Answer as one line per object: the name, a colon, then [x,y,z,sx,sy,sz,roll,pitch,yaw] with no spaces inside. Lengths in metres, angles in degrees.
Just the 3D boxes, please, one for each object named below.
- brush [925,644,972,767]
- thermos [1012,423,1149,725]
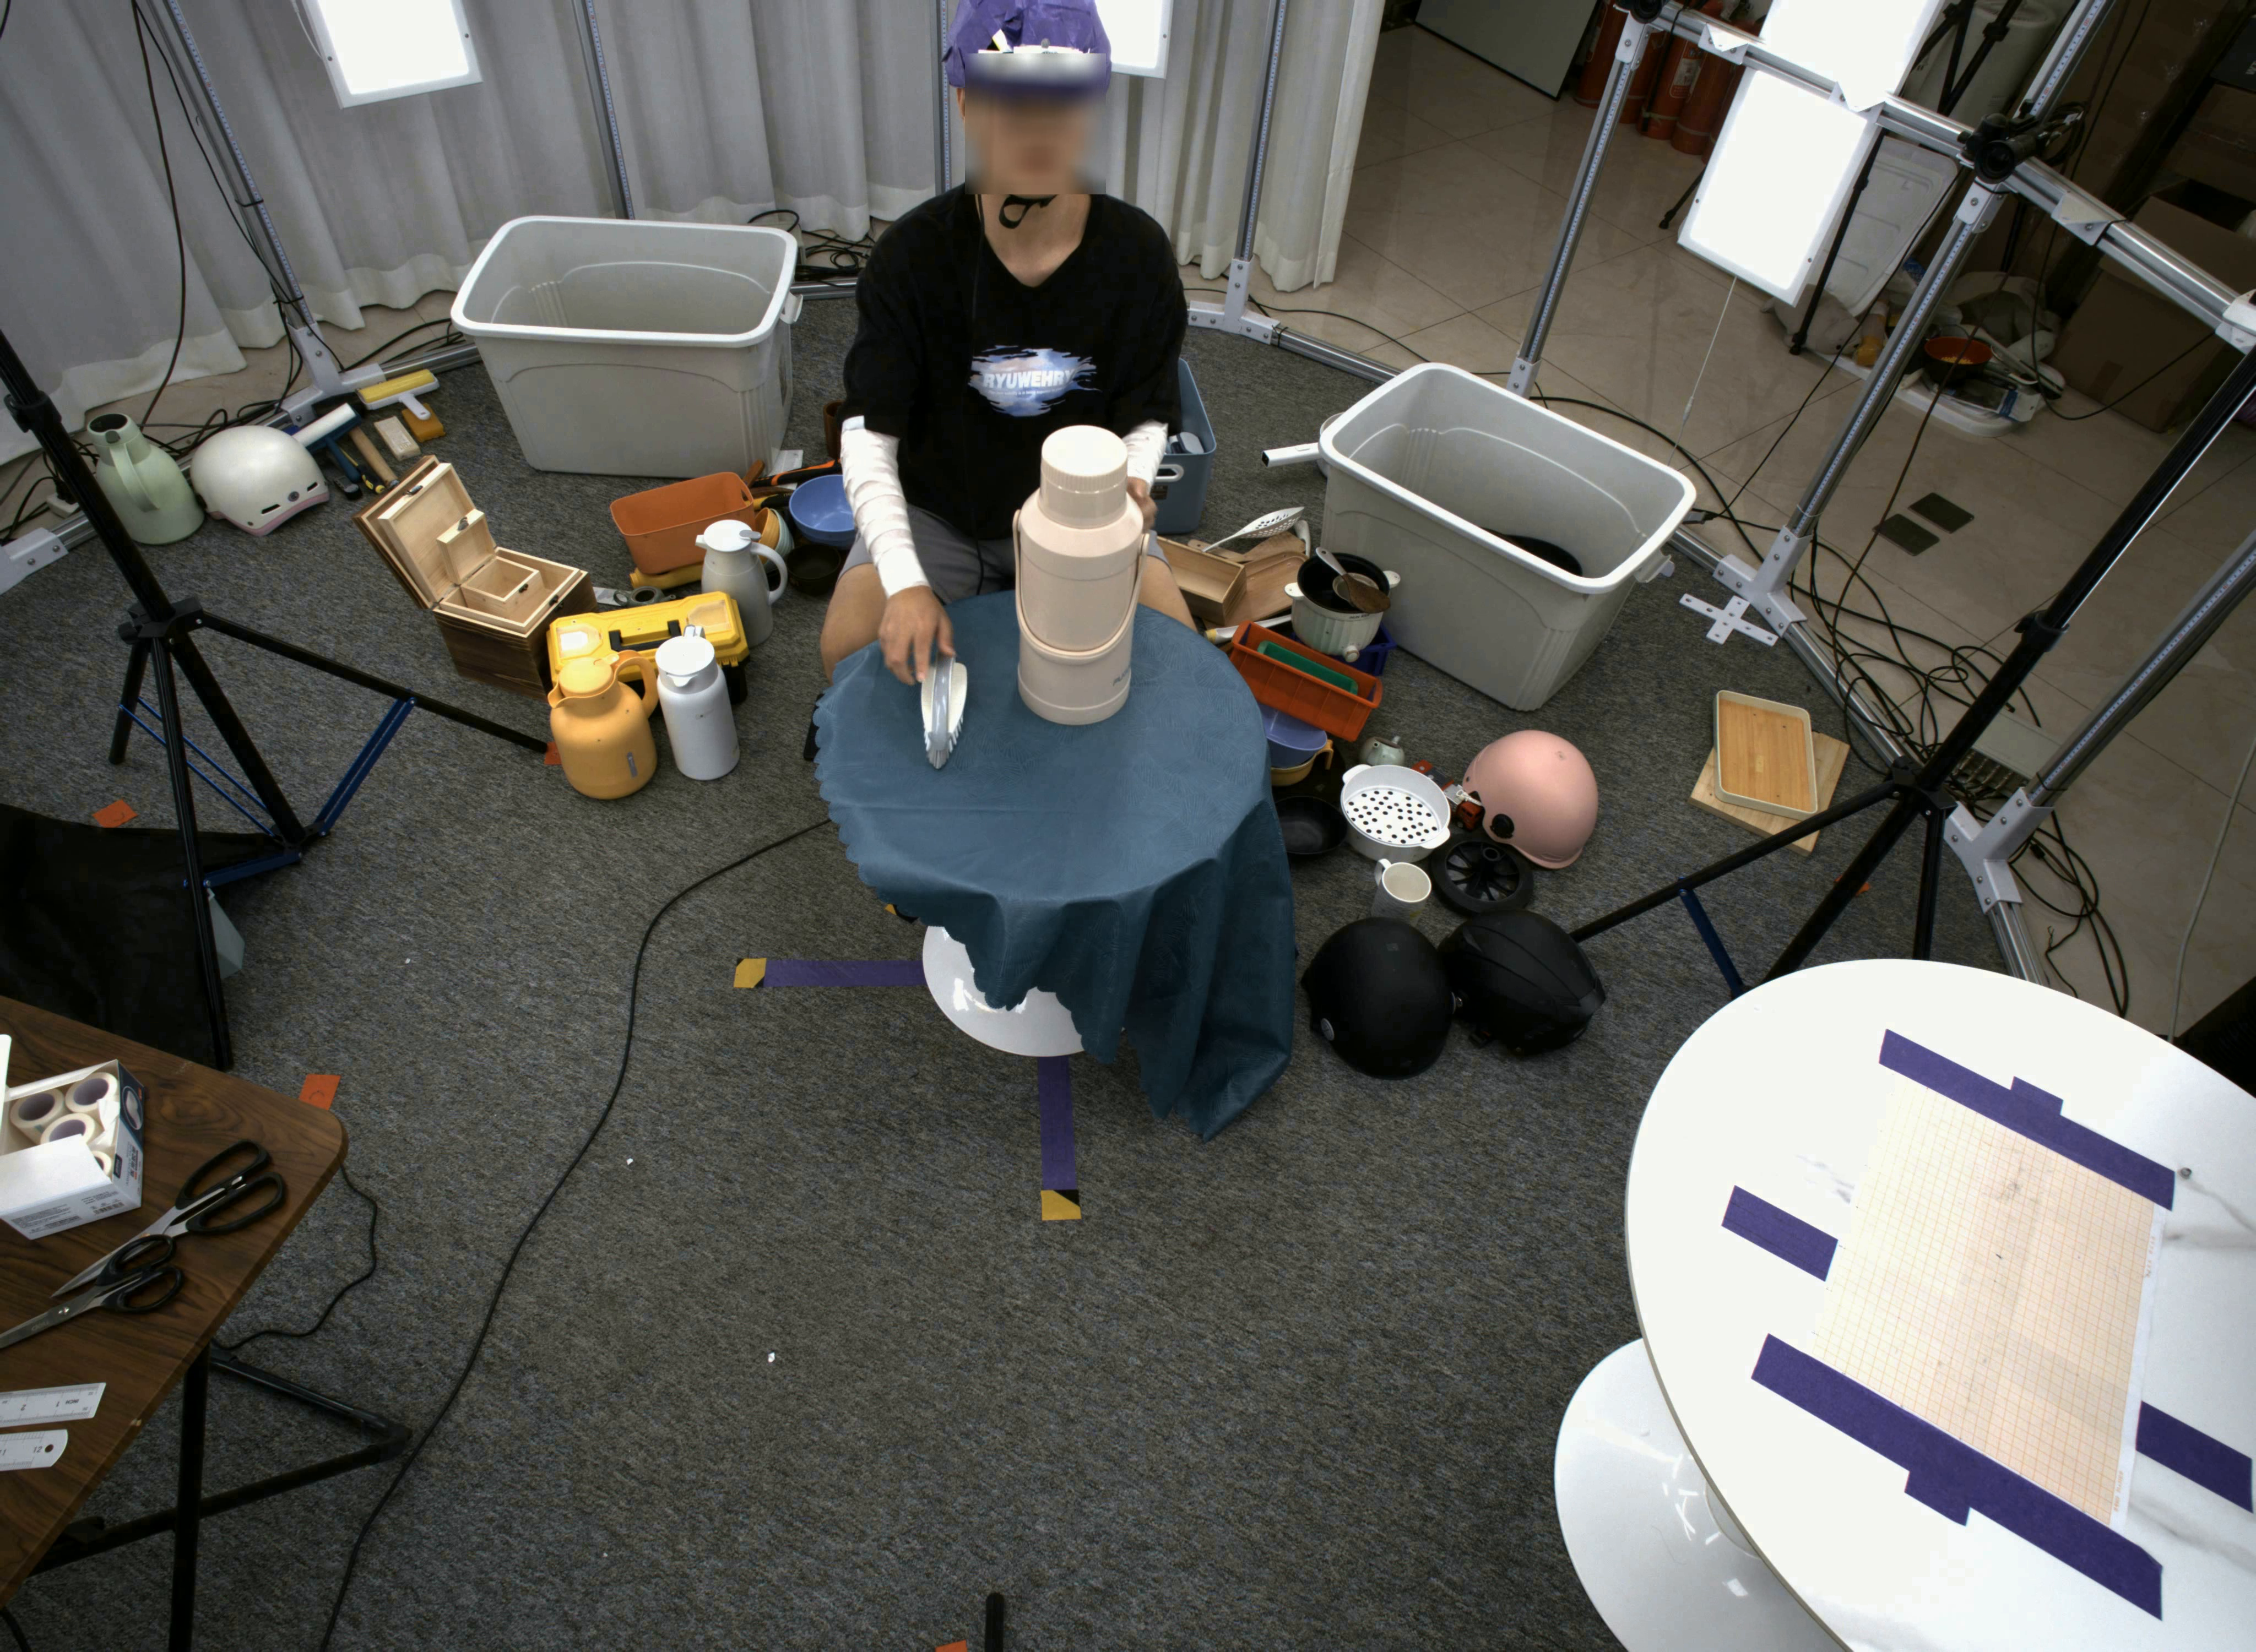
brush: [-0.248,-0.172,1.747,0.061,0.092,0.180,1,52,0]
thermos: [-0.060,-0.336,1.704,0.175,0.396,0.212,11,50,6]
